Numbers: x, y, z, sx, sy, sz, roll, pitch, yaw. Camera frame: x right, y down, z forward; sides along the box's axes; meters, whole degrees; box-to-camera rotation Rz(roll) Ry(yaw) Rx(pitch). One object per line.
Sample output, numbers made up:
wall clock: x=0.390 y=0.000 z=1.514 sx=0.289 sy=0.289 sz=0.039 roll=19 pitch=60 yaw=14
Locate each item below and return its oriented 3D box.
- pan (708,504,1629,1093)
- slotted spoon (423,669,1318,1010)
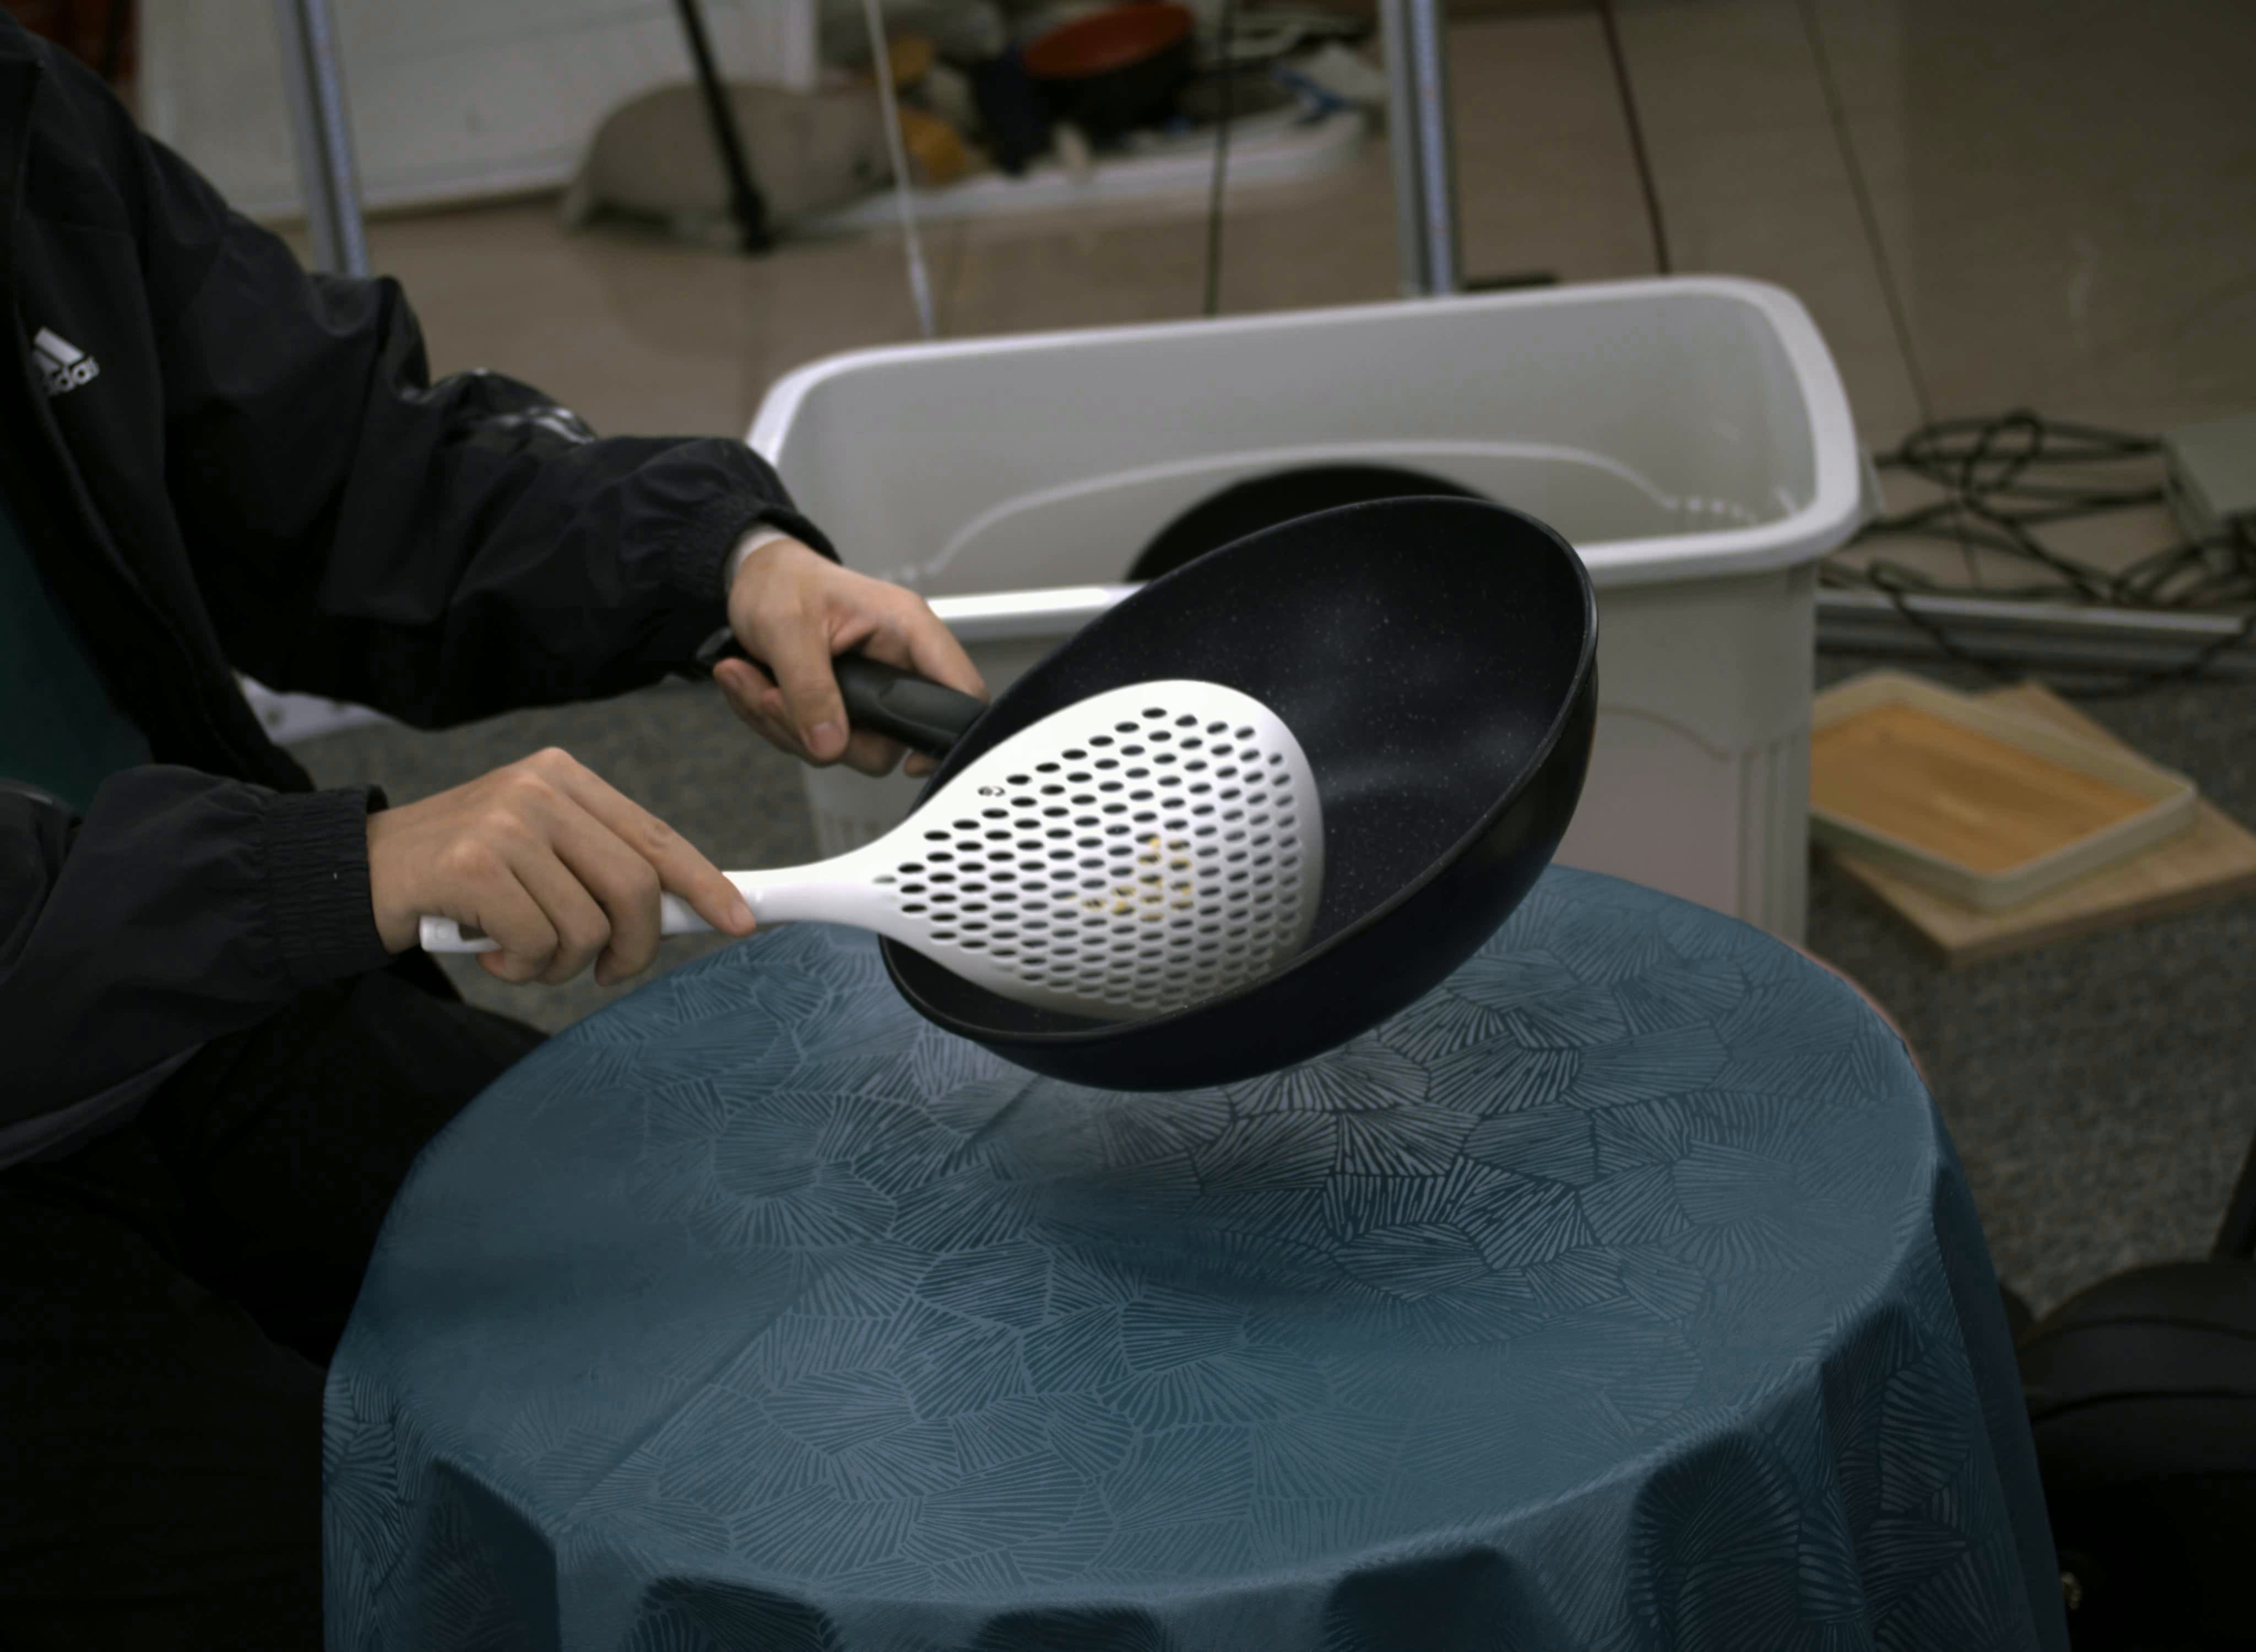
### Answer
pan: x=0.005 y=-0.013 z=2.233 sx=0.474 sy=0.113 sz=0.307 roll=9 pitch=49 yaw=48
slotted spoon: x=-0.093 y=0.022 z=2.132 sx=0.347 sy=0.138 sz=0.050 roll=-6 pitch=18 yaw=-10
